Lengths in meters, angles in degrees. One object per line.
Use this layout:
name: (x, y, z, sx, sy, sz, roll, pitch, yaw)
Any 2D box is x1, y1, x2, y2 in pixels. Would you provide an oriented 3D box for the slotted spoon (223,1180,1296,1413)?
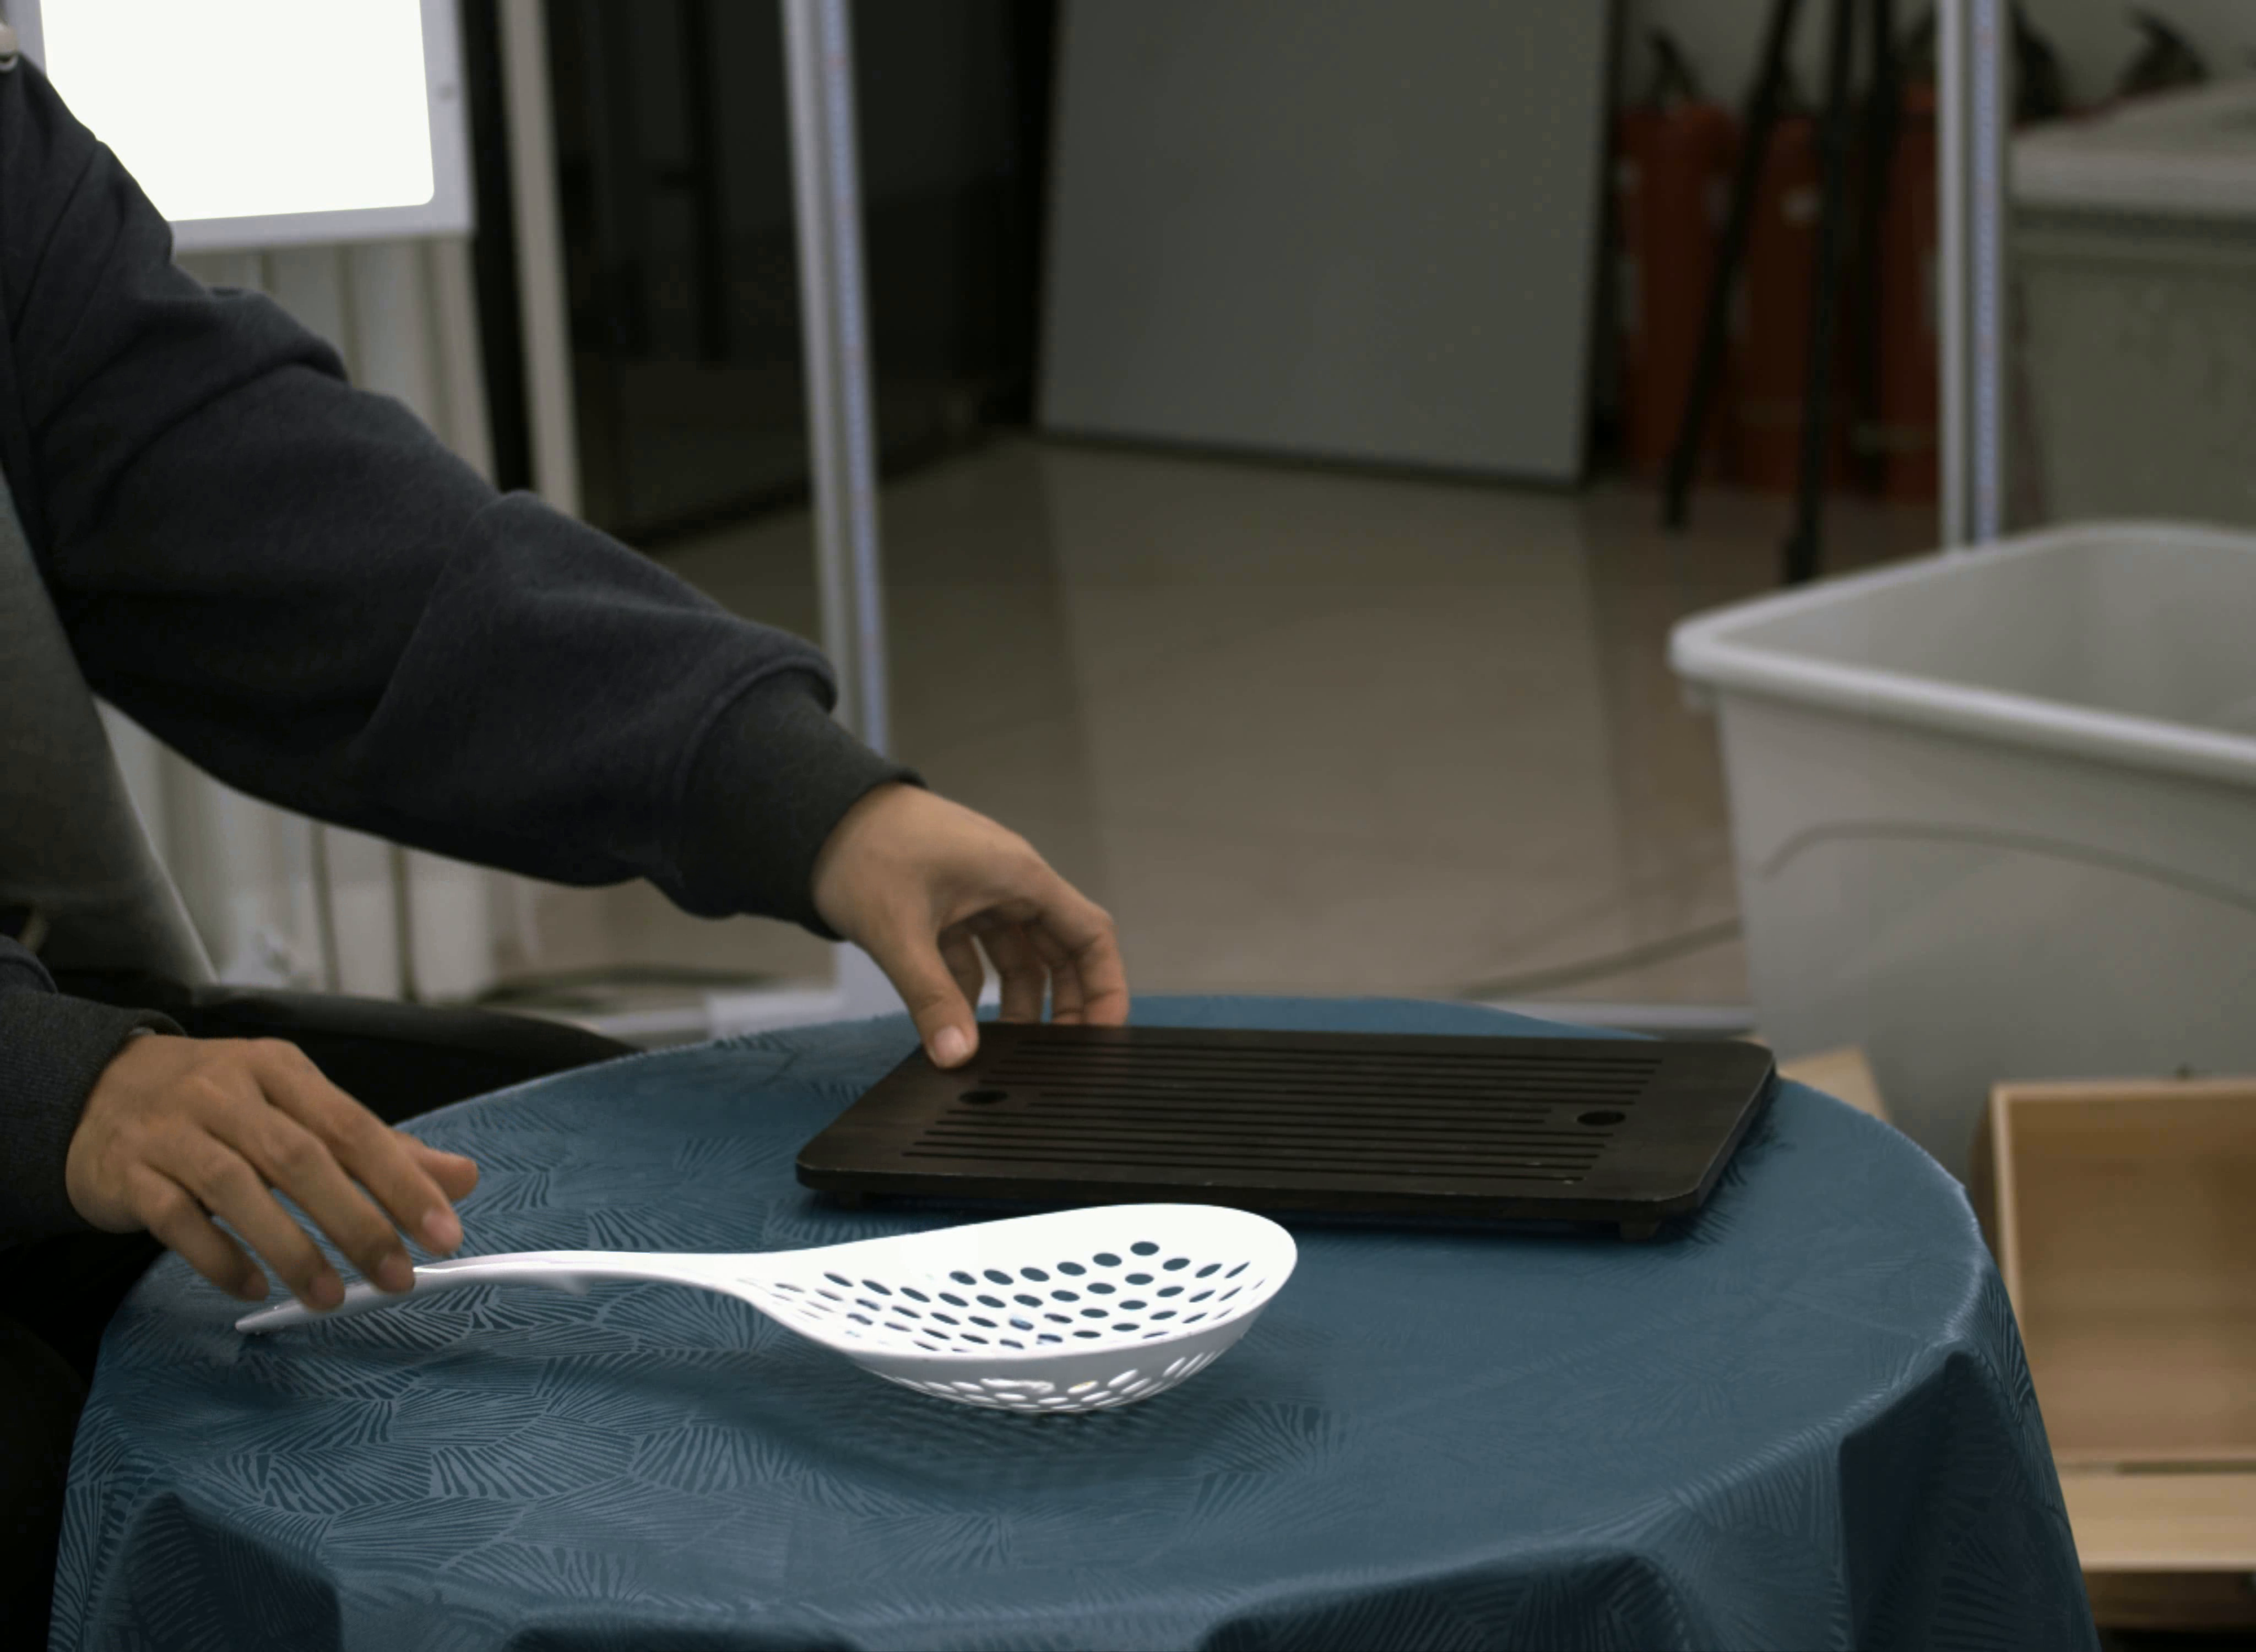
slotted spoon: (-0.116, 0.144, 1.619, 0.348, 0.051, 0.135, 2, 17, 22)

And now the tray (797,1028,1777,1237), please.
tray: (0.056, 0.101, 1.799, 0.305, 0.019, 0.168, 0, 14, 18)
